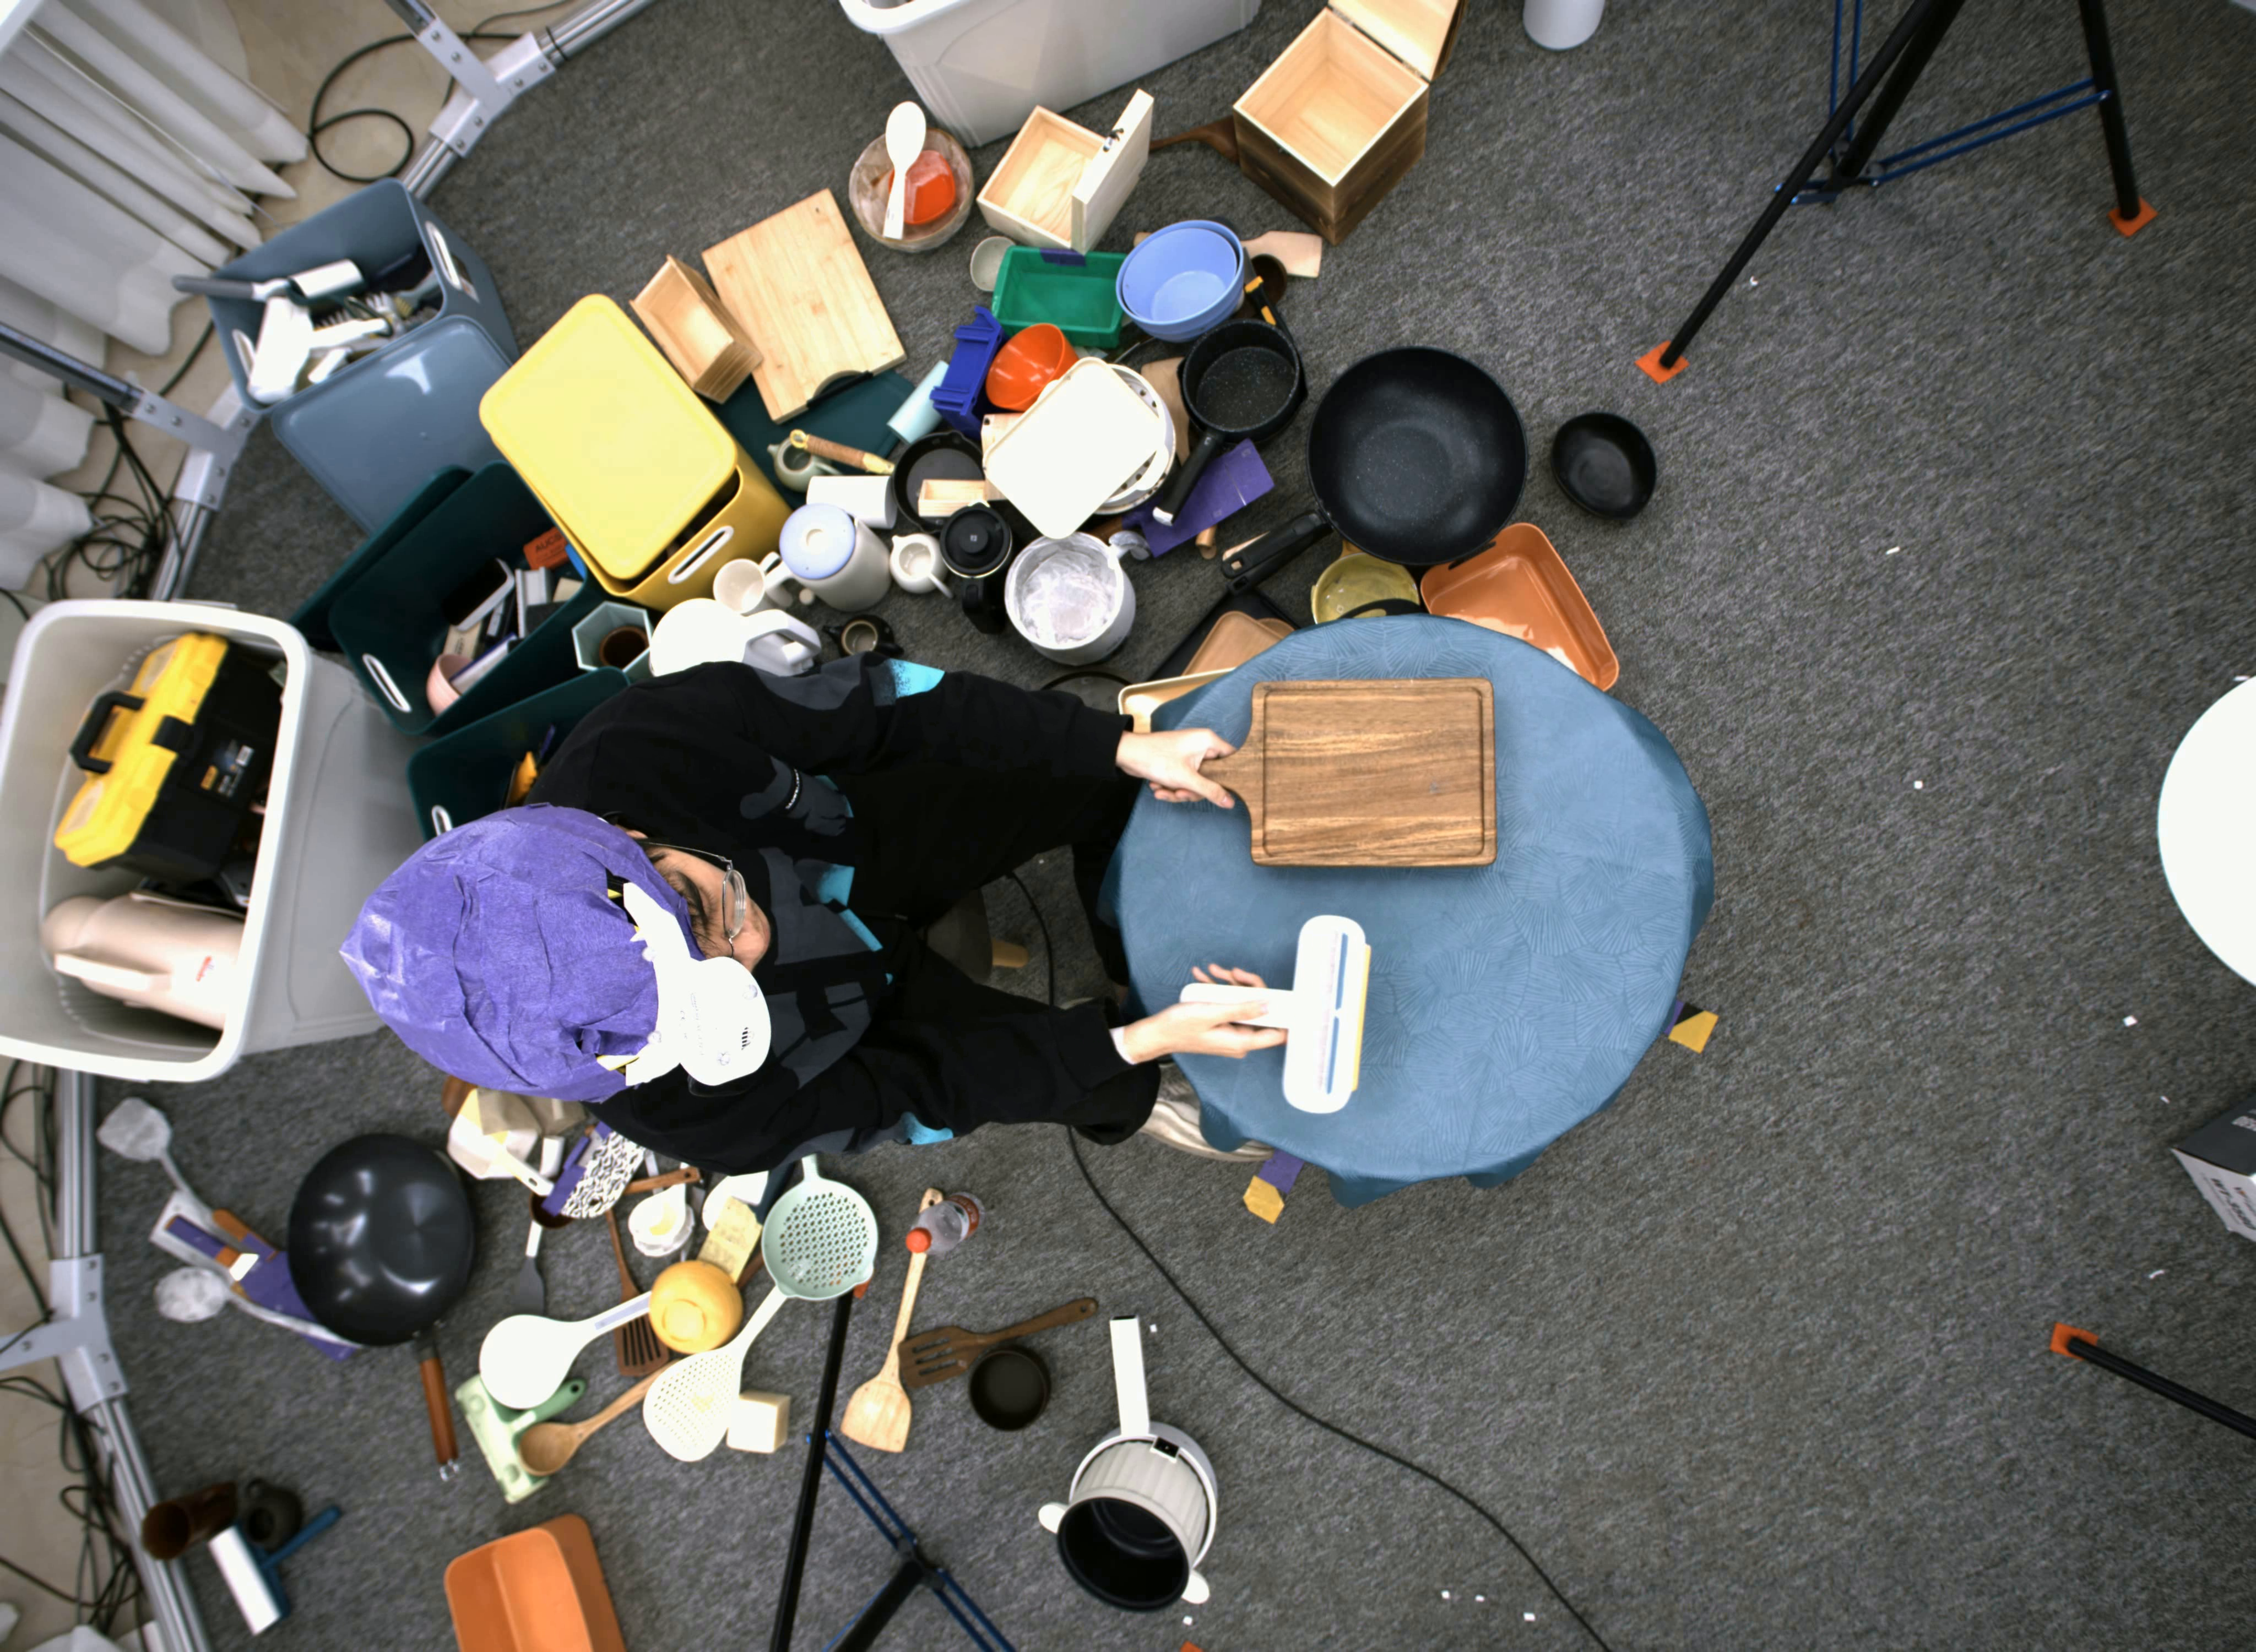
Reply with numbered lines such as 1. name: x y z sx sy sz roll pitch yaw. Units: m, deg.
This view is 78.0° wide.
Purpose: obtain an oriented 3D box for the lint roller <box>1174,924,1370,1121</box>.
1. lint roller: 0.135 0.183 1.382 0.193 0.074 0.192 9 85 17

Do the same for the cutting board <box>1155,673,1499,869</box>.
1. cutting board: 0.203 -0.057 1.430 0.353 0.023 0.200 0 86 10
